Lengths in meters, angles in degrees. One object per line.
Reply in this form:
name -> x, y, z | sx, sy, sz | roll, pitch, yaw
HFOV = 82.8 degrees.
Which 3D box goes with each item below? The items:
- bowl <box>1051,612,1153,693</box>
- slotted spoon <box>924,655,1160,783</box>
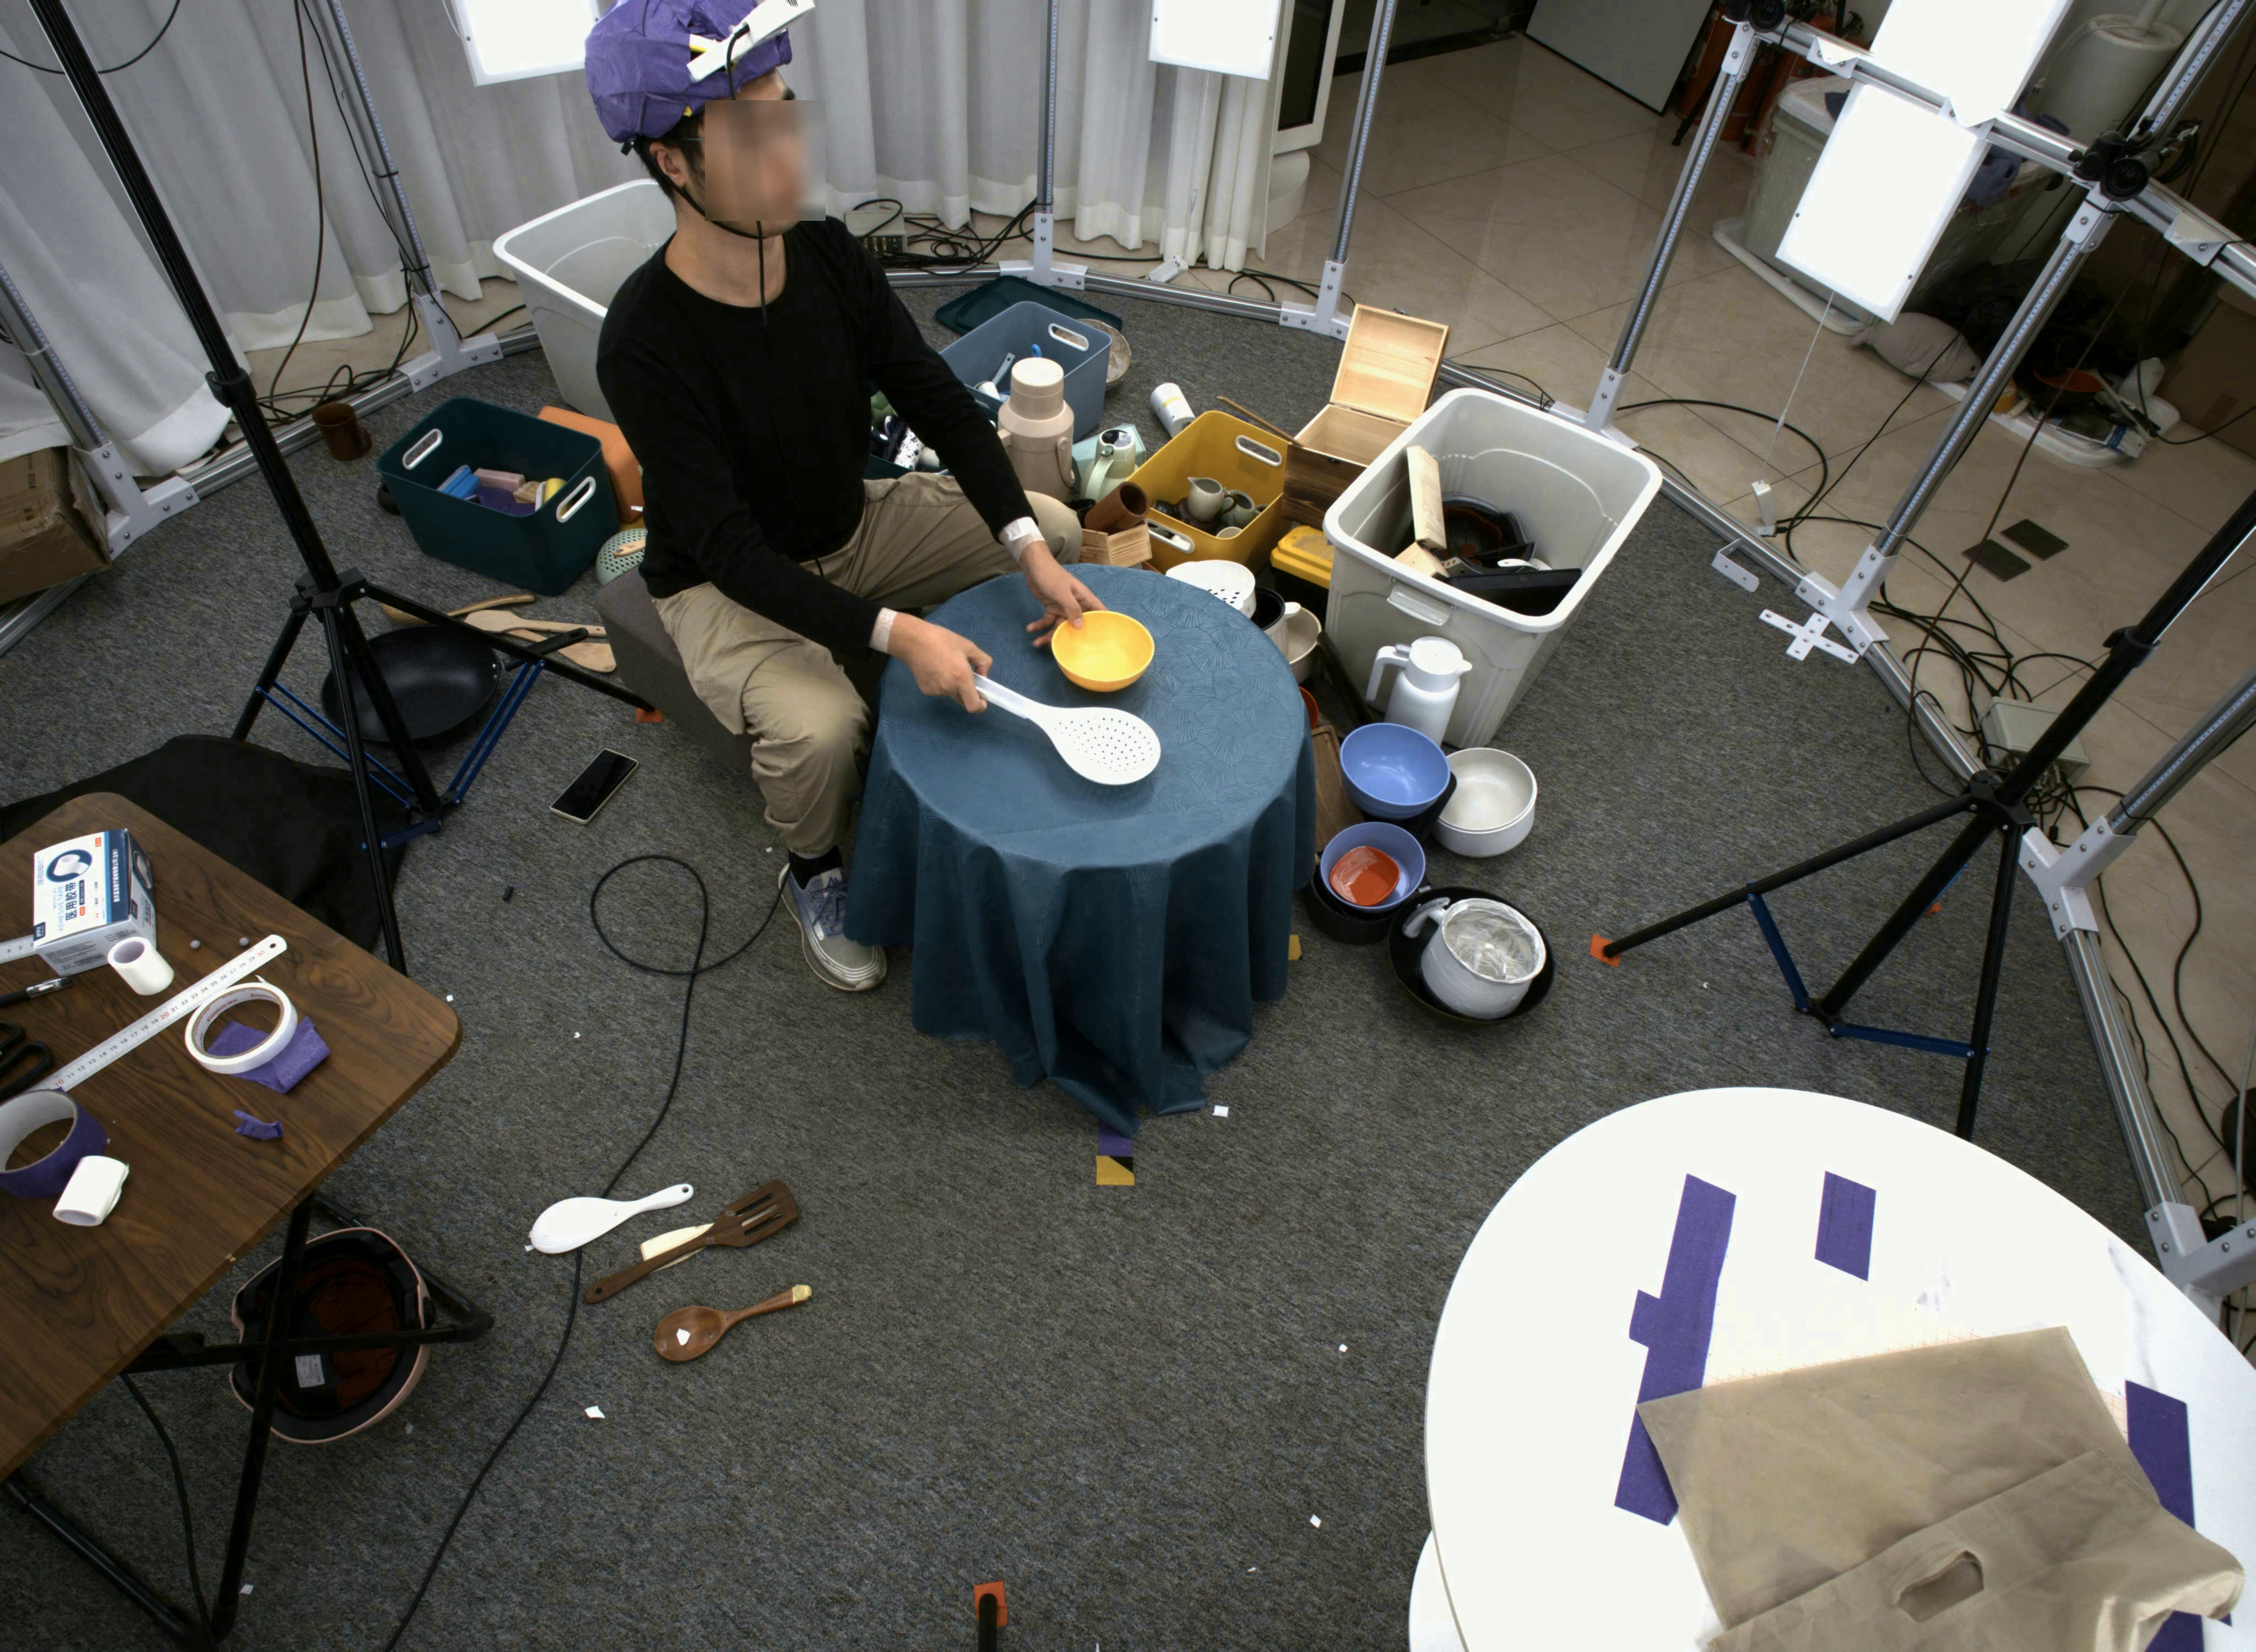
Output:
bowl -> -0.039, -0.237, 1.837 | 0.145, 0.058, 0.149 | 3, 49, -4
slotted spoon -> -0.120, -0.151, 1.737 | 0.351, 0.045, 0.138 | 28, 48, 8
